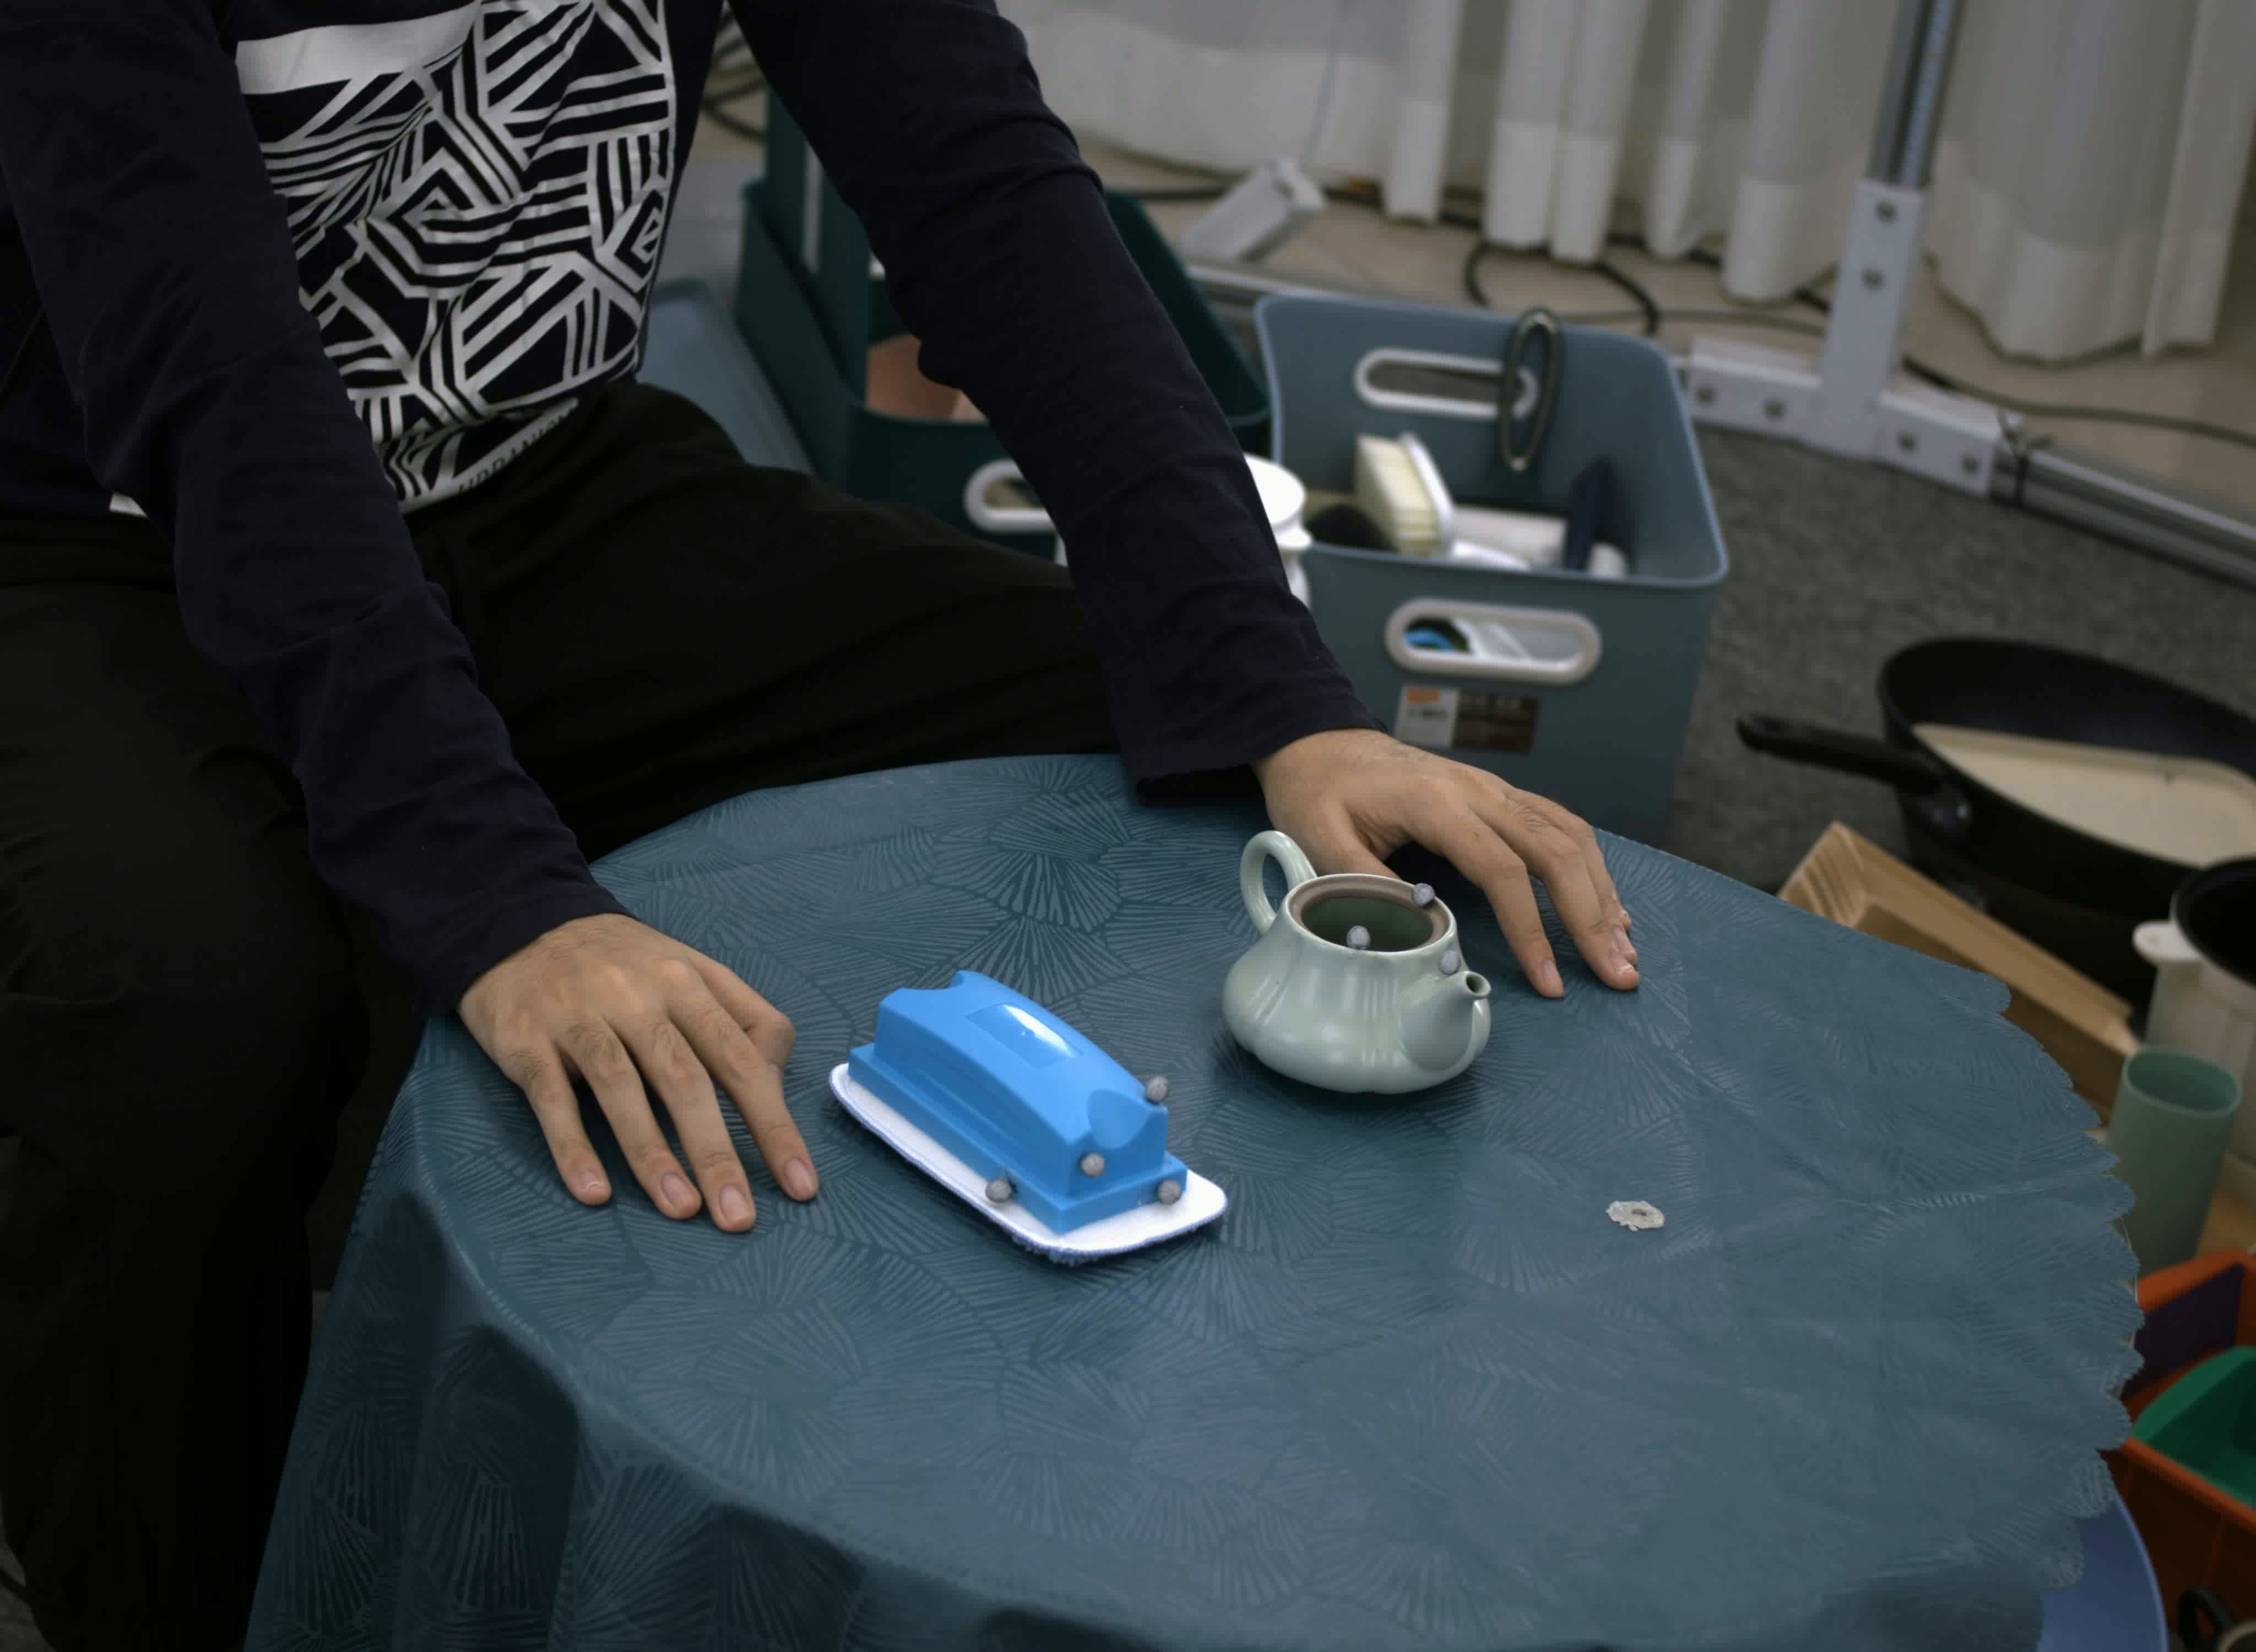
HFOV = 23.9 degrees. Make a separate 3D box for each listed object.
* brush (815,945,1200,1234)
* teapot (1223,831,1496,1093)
[{"bbox_3d":[-0.039,0.085,1.806,0.083,0.056,0.145,-10,34,-36],"label":"brush"},{"bbox_3d":[0.080,0.052,1.899,0.095,0.061,0.138,-16,35,-33],"label":"teapot"}]
